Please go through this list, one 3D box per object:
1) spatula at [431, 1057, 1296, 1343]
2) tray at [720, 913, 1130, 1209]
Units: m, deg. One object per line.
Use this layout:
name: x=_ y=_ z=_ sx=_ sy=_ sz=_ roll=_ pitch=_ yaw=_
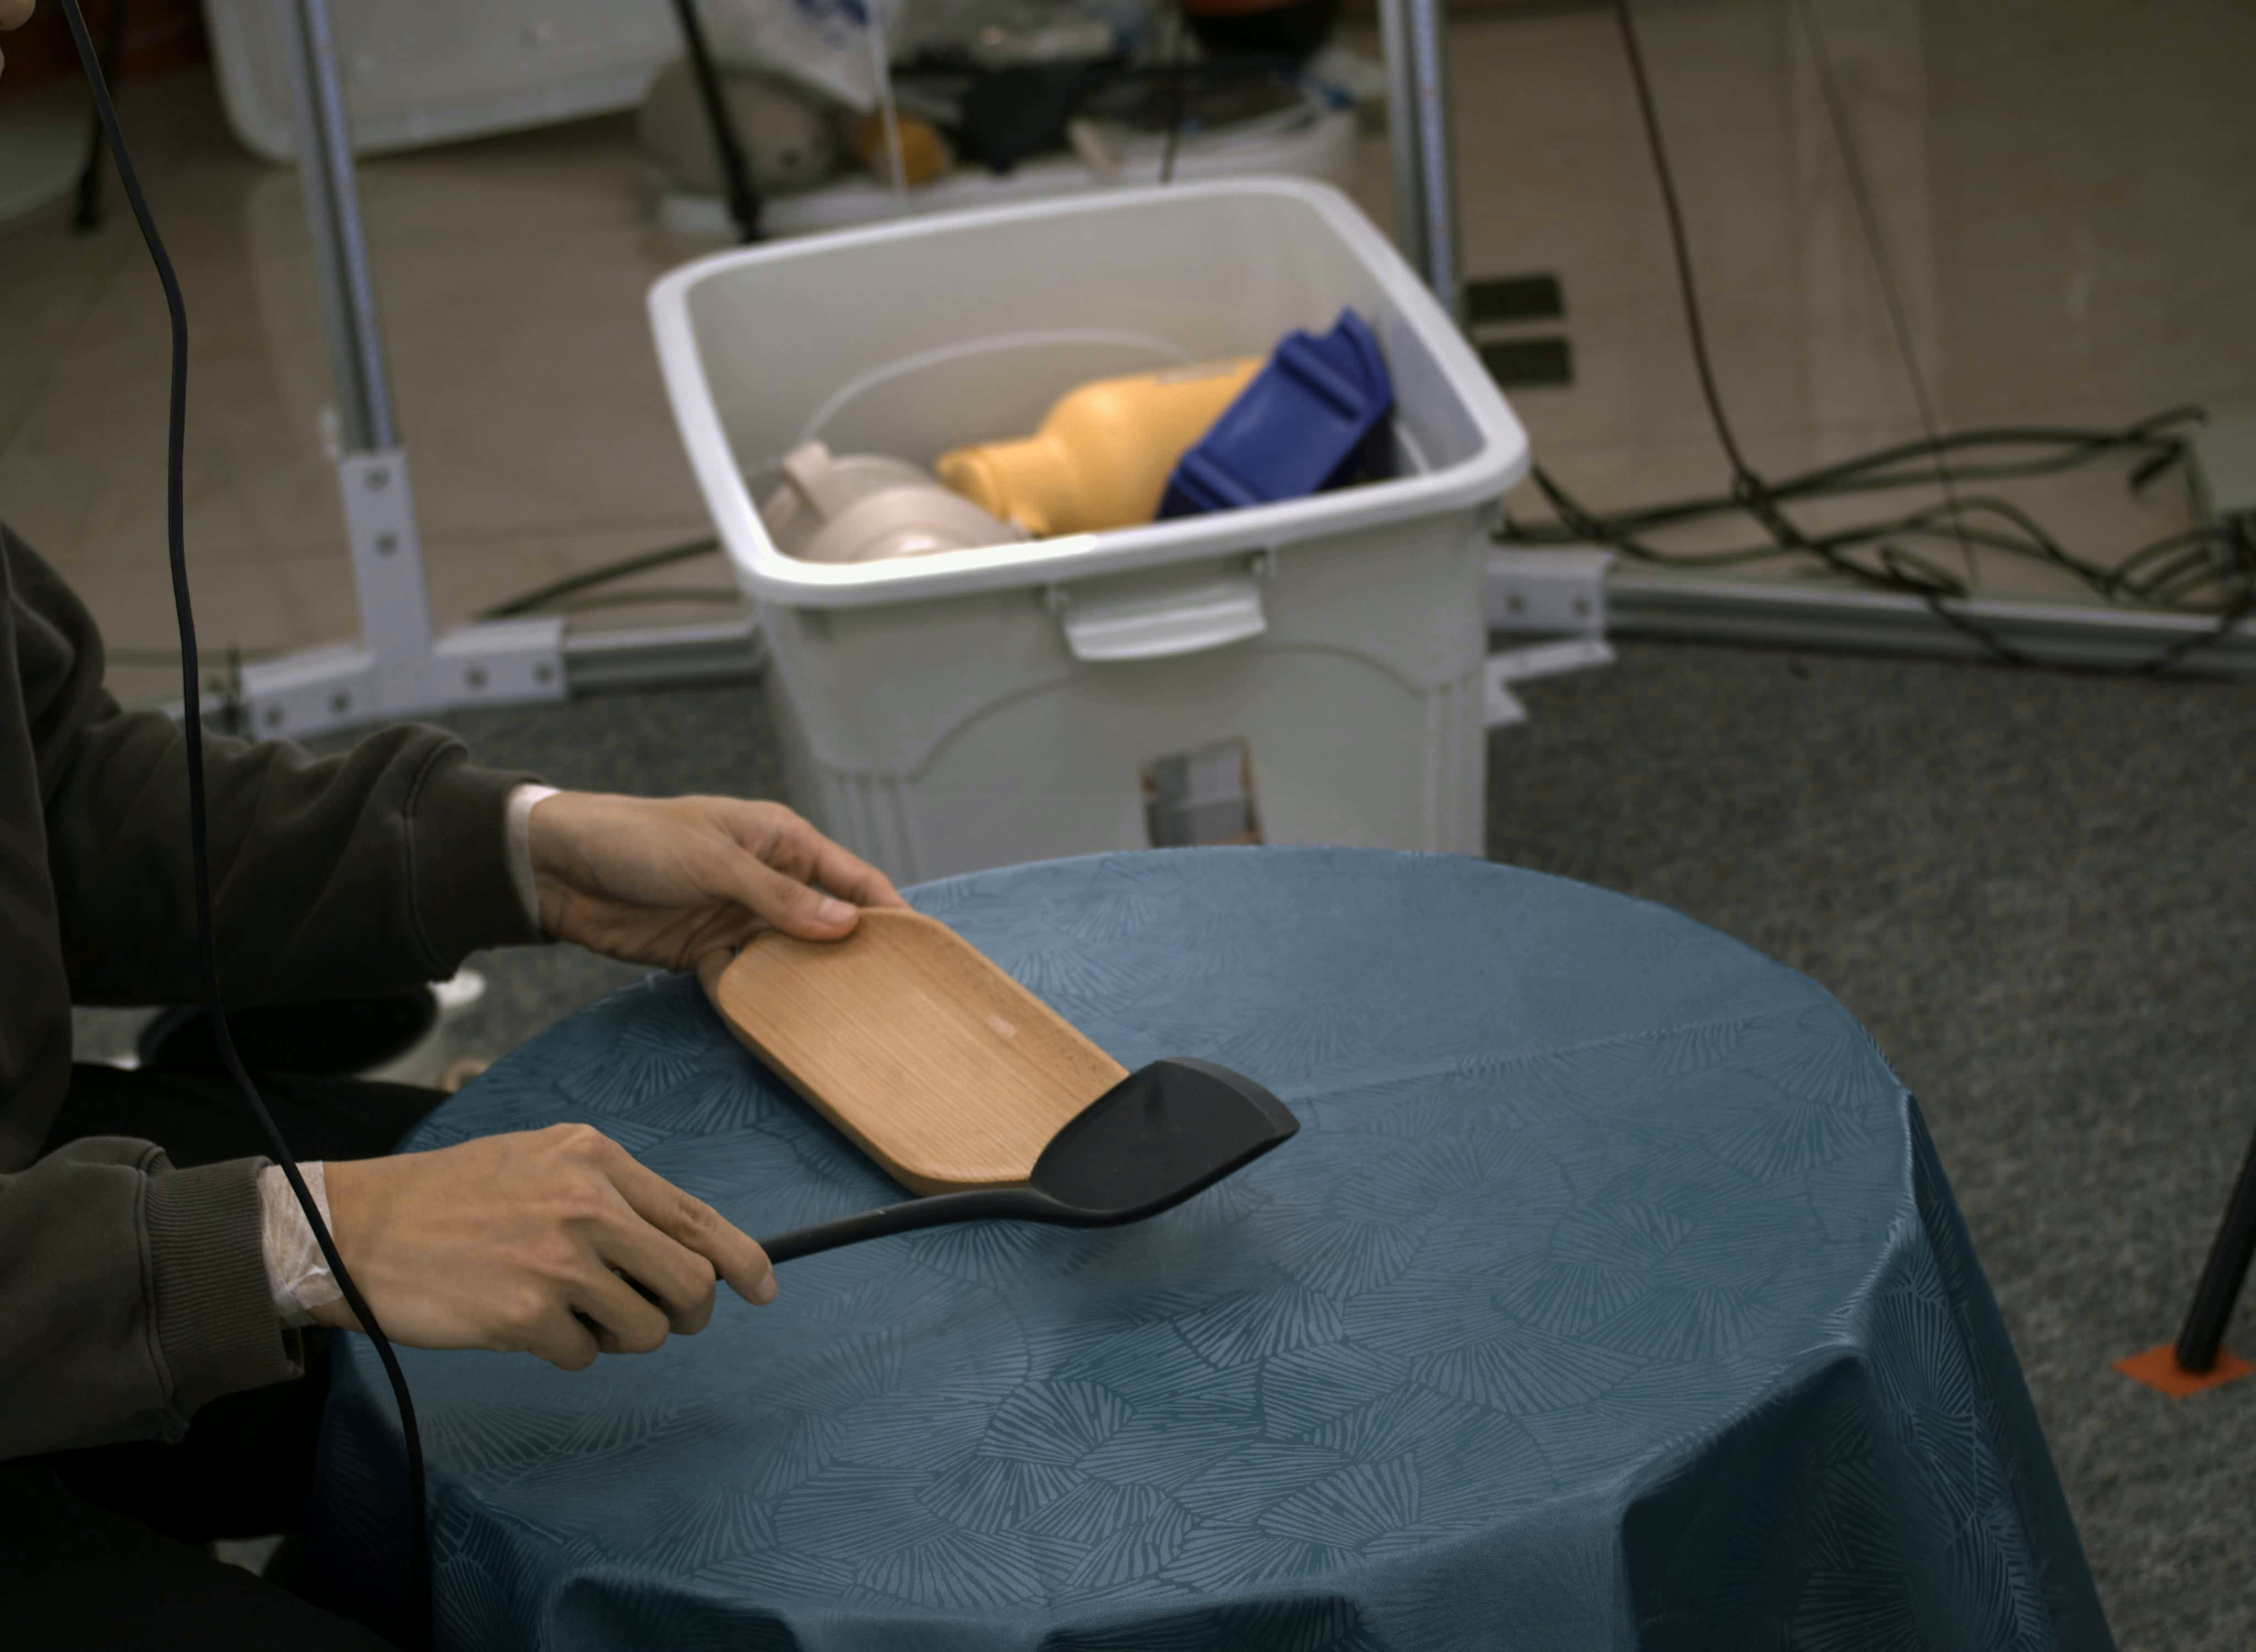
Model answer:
spatula: x=-0.098 y=0.139 z=2.040 sx=0.325 sy=0.041 sz=0.099 roll=-10 pitch=18 yaw=-25
tray: x=-0.080 y=0.091 z=2.226 sx=0.101 sy=0.021 sz=0.228 roll=-24 pitch=35 yaw=-22
